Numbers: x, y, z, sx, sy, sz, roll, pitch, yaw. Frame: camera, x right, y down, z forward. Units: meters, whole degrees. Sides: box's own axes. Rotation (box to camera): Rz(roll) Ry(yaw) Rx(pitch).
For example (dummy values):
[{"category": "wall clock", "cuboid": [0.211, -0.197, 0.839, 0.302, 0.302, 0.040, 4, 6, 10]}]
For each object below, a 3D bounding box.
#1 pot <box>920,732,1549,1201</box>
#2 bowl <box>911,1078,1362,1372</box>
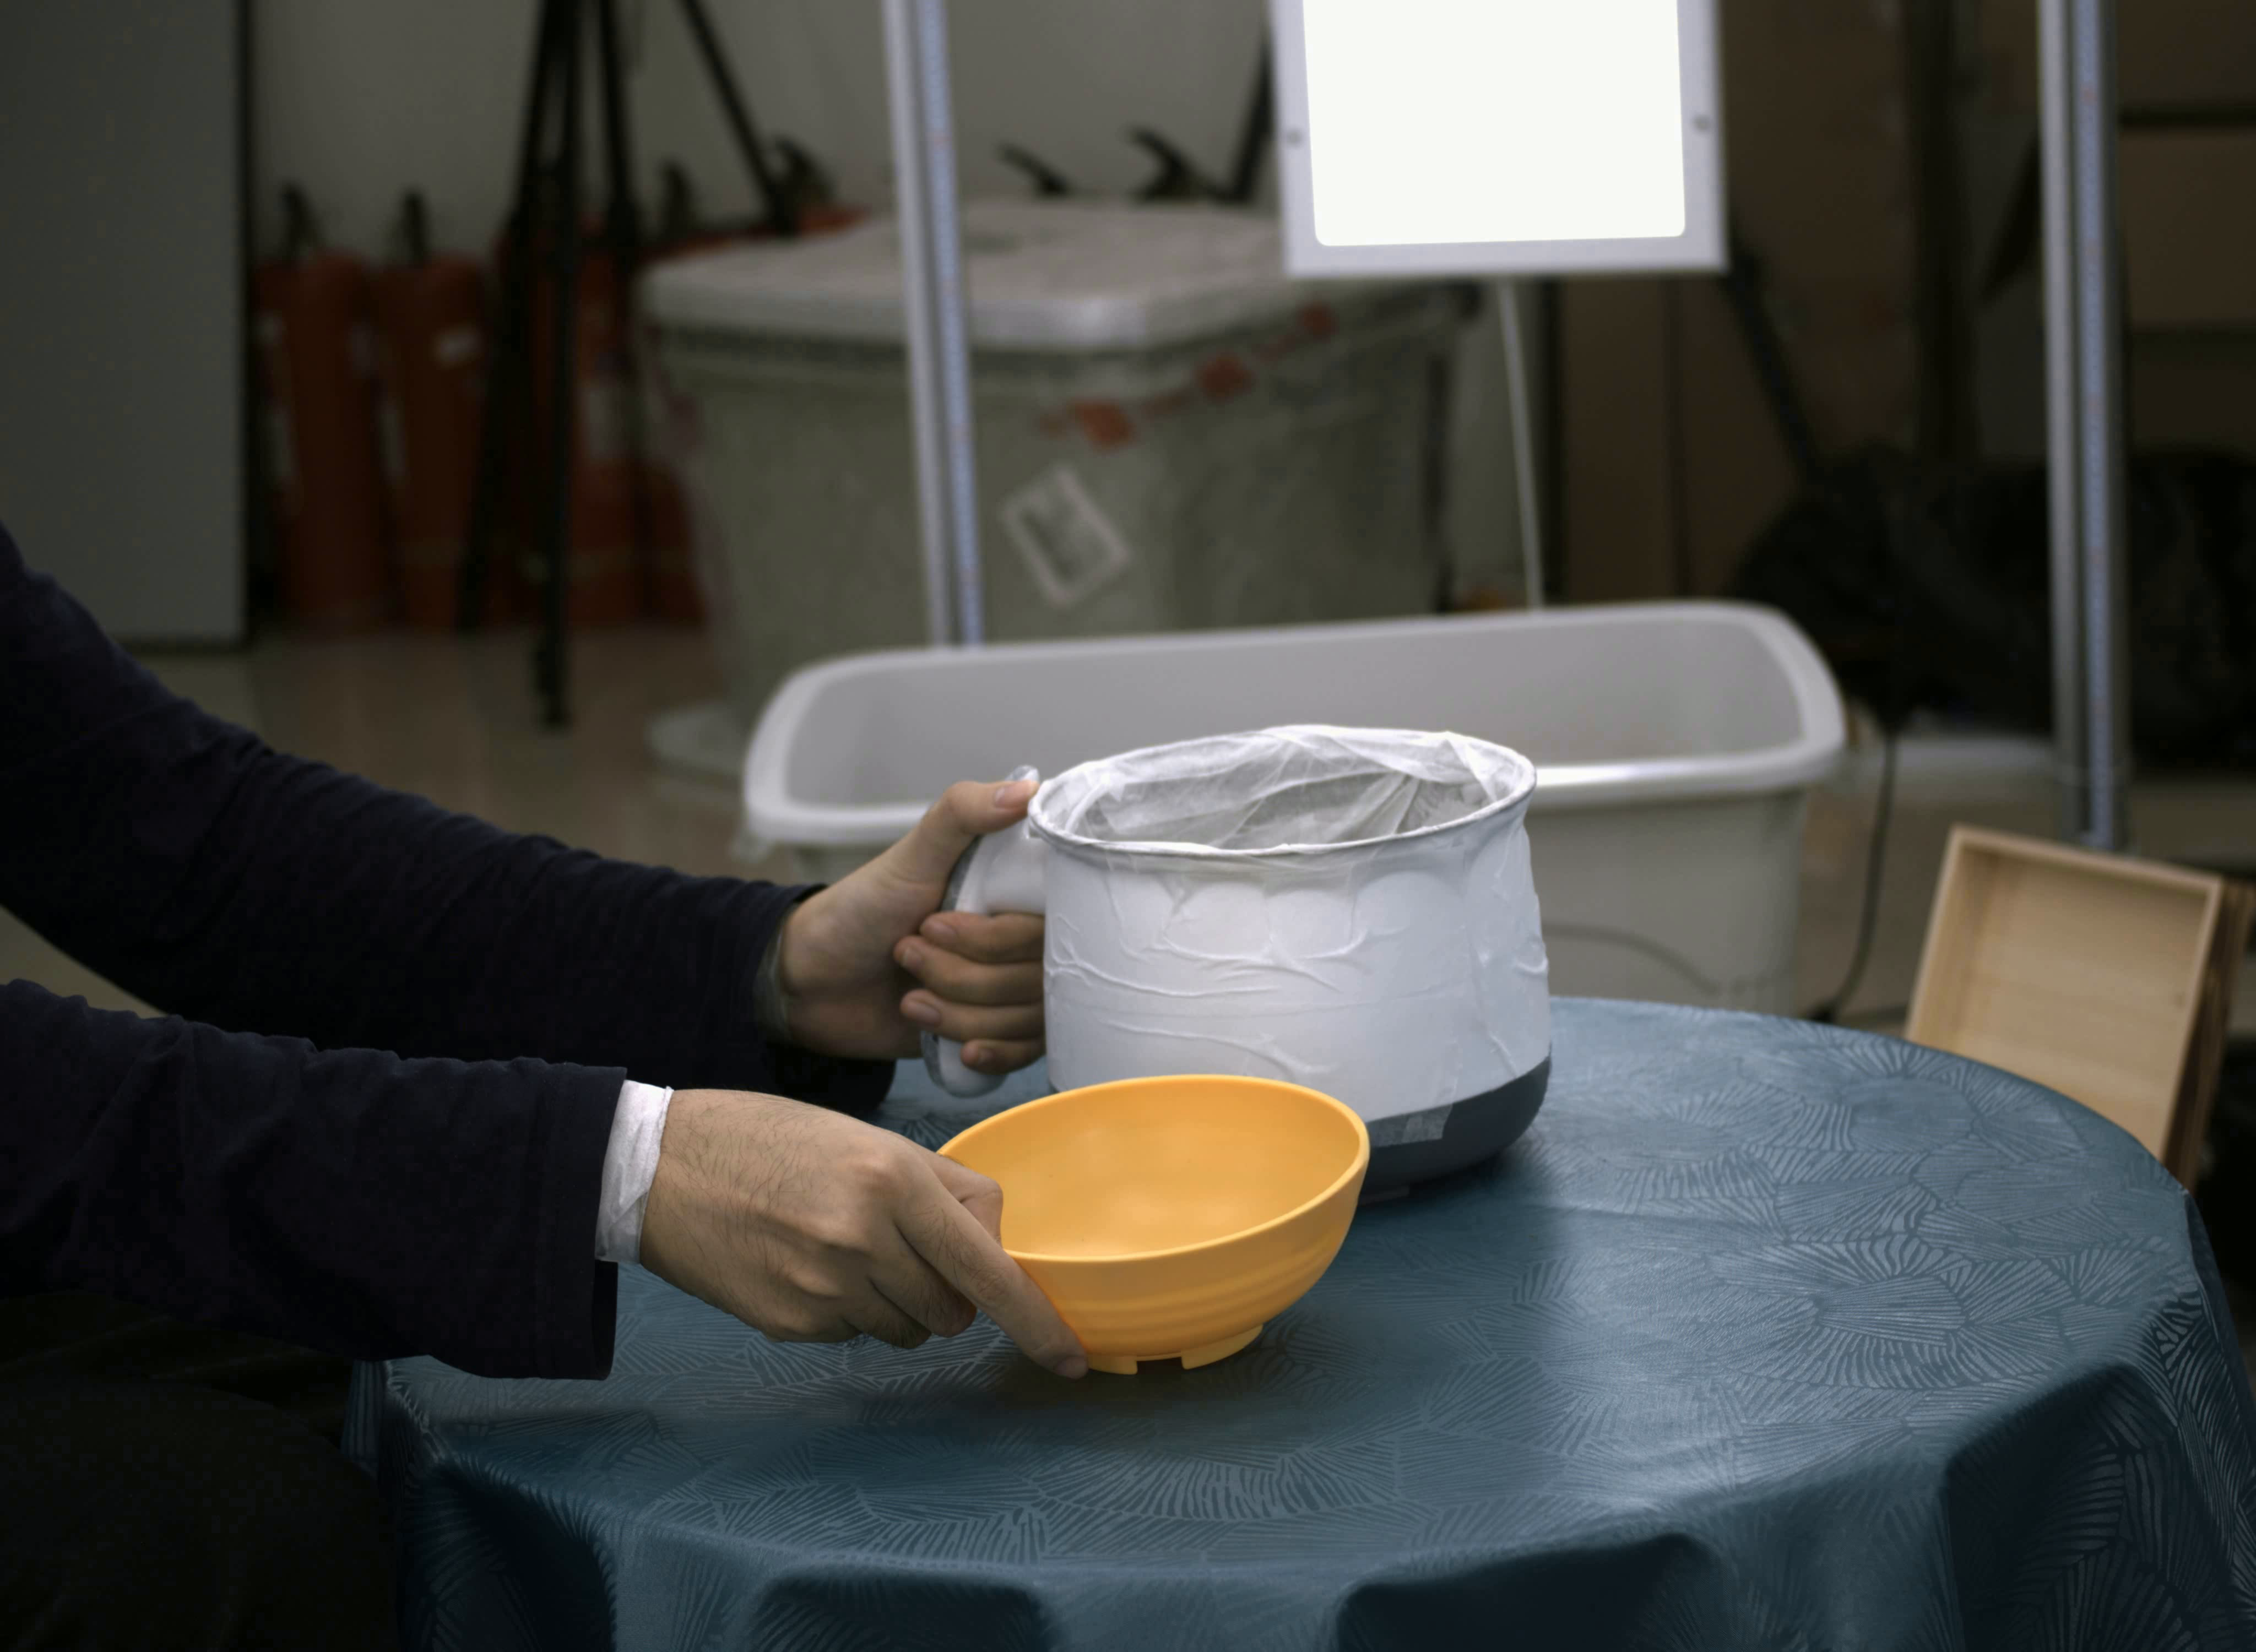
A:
[{"category": "pot", "cuboid": [0.033, 0.046, 1.927, 0.237, 0.137, 0.175, 3, 13, 25]}, {"category": "bowl", "cuboid": [0.006, 0.132, 1.736, 0.145, 0.060, 0.145, -7, 18, 1]}]
